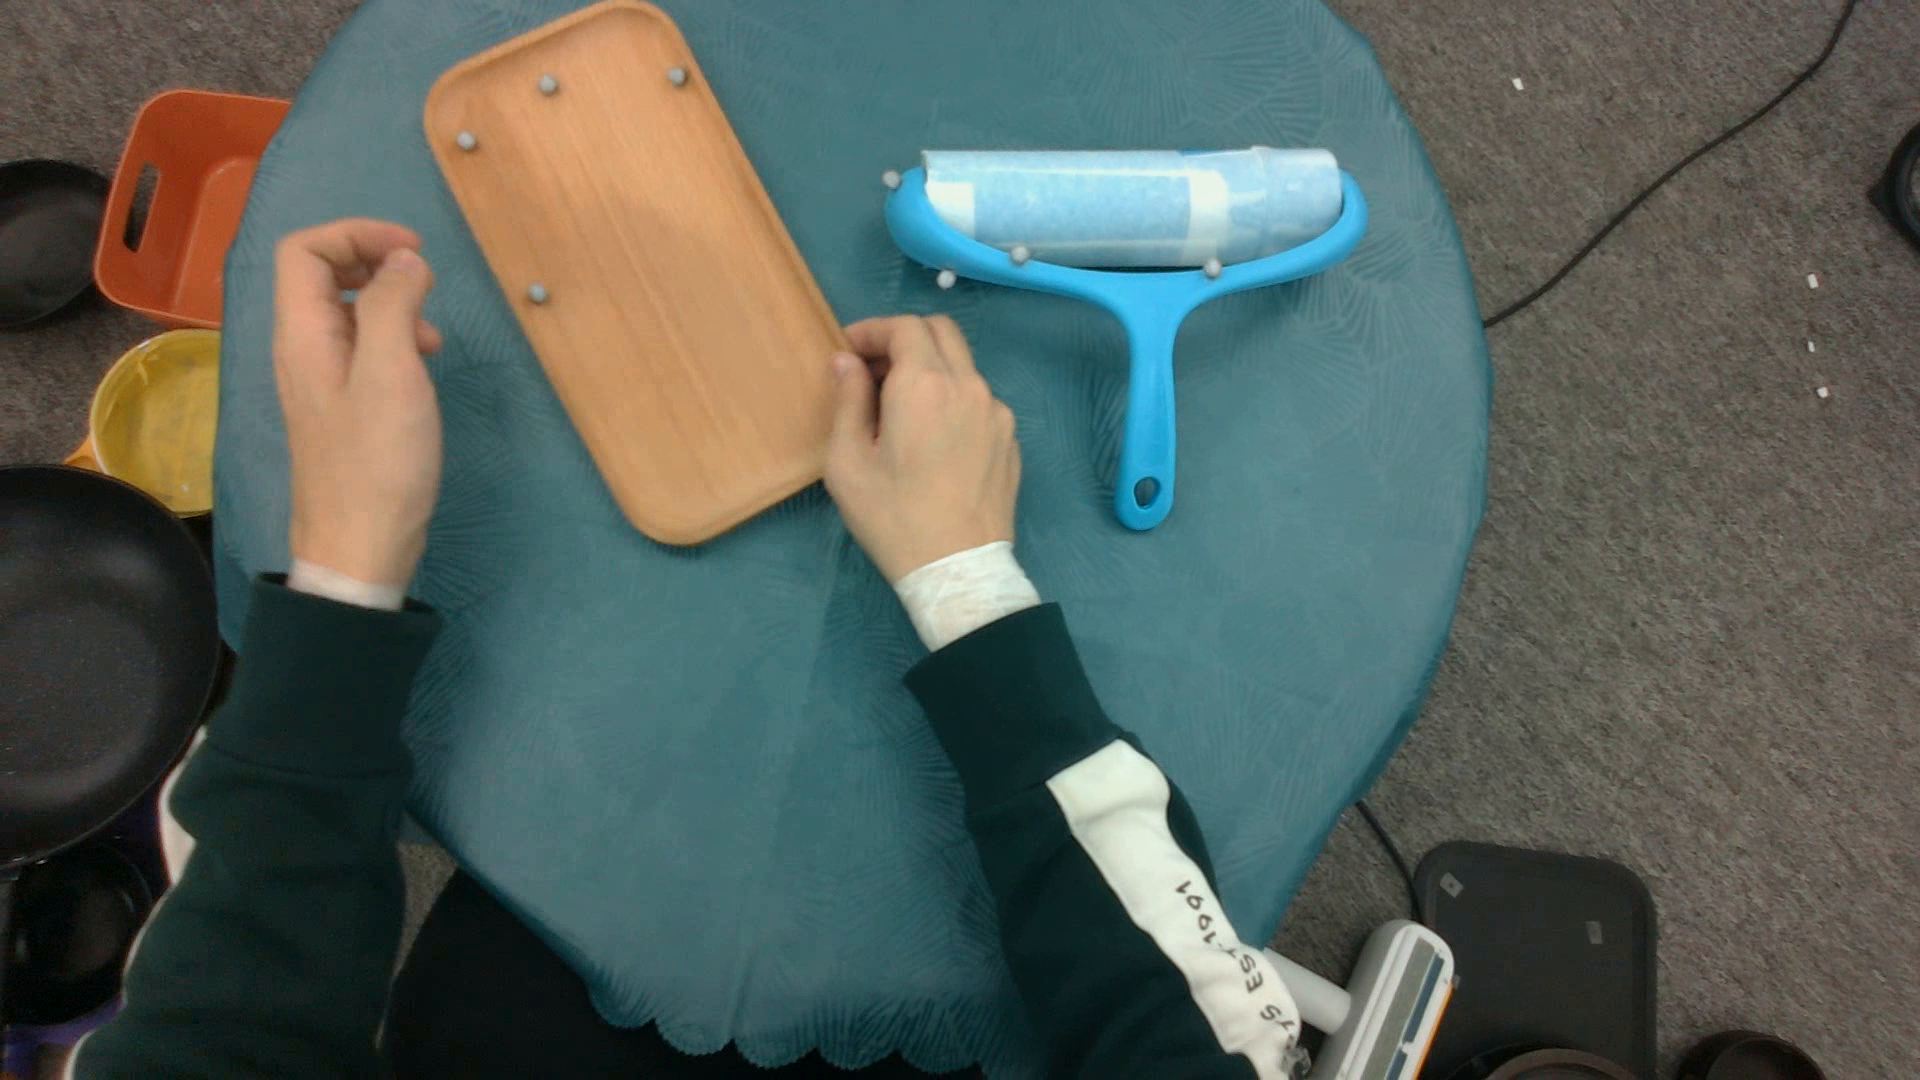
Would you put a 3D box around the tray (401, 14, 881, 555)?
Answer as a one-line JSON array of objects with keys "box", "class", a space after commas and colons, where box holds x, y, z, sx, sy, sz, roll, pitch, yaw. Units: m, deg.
[{"box": [-0.147, -0.120, 0.633, 0.130, 0.023, 0.251, -33, 83, -2], "class": "tray"}]

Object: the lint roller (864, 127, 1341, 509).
[{"box": [0.077, -0.109, 0.644, 0.229, 0.068, 0.180, -6, 77, -9], "class": "lint roller"}]
